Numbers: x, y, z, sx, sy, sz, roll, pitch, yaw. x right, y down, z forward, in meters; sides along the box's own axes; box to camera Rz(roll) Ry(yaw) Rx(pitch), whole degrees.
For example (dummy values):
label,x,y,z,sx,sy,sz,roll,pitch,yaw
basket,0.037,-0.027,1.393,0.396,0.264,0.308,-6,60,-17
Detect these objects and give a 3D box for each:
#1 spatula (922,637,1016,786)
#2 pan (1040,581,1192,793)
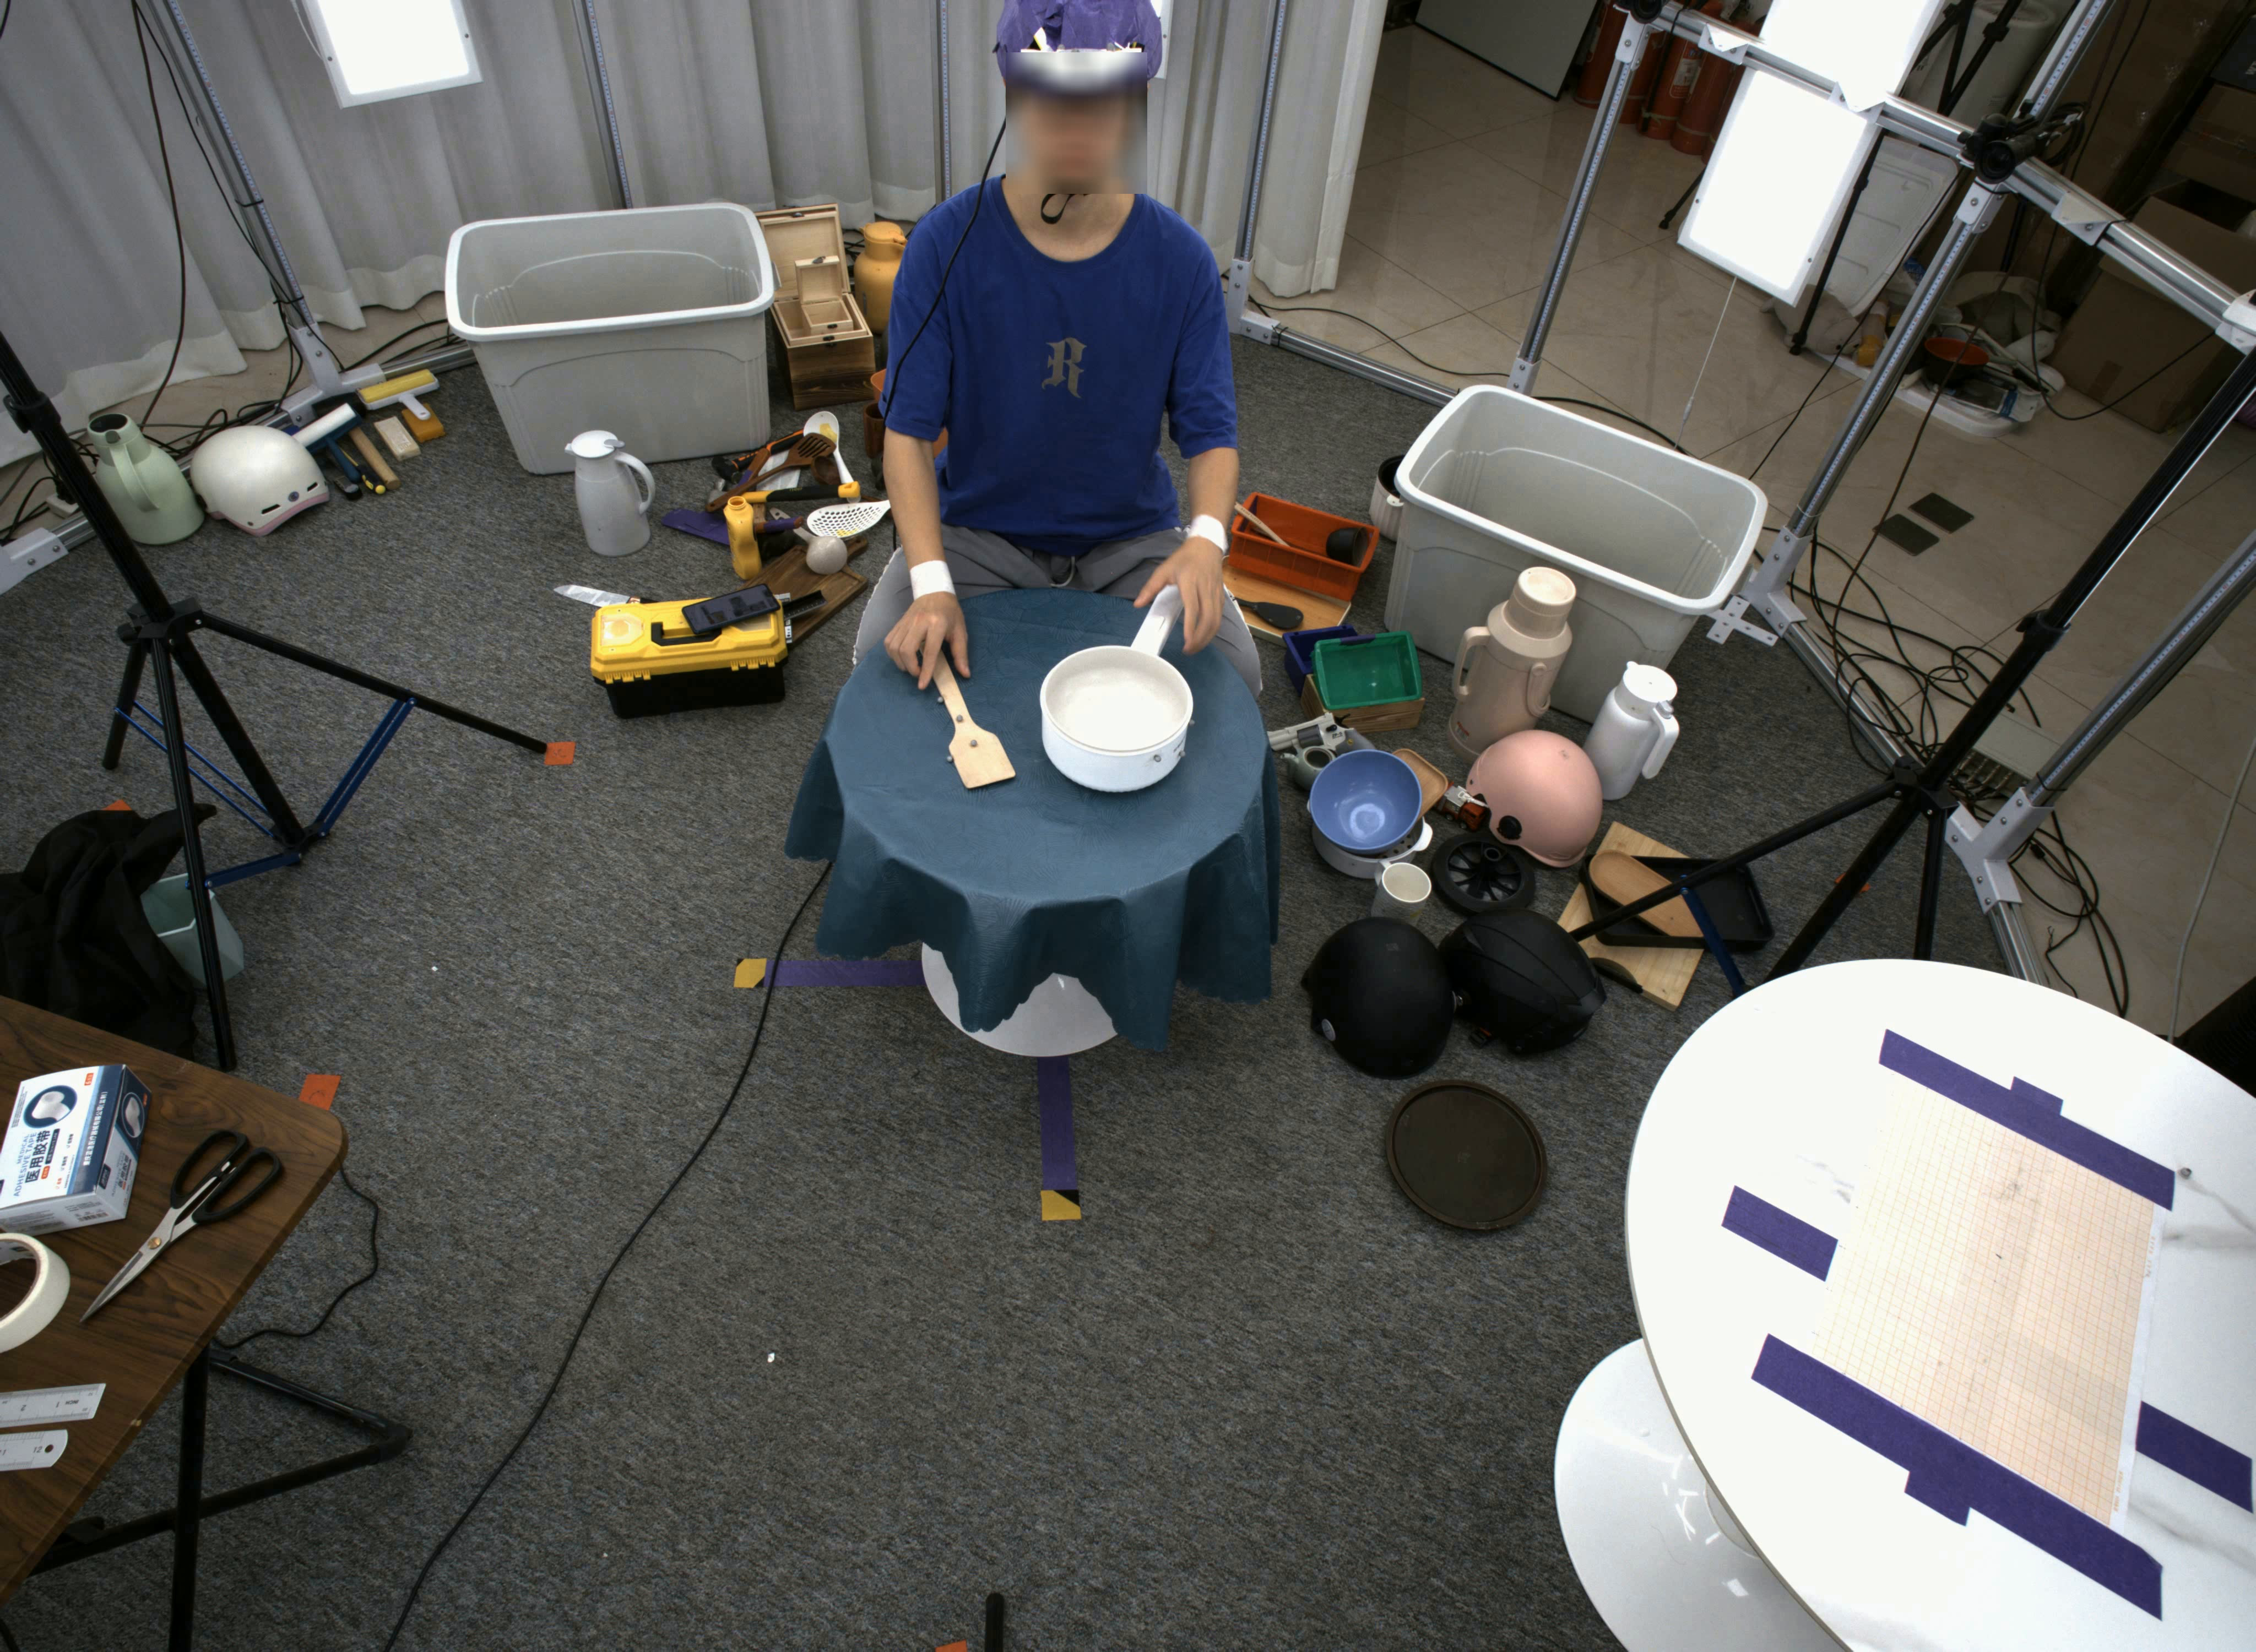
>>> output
label,x,y,z,sx,sy,sz,roll,pitch,yaw
spatula,-0.235,-0.166,1.795,0.072,0.010,0.300,-16,52,-15
pan,0.009,-0.195,1.779,0.202,0.099,0.362,15,51,12
